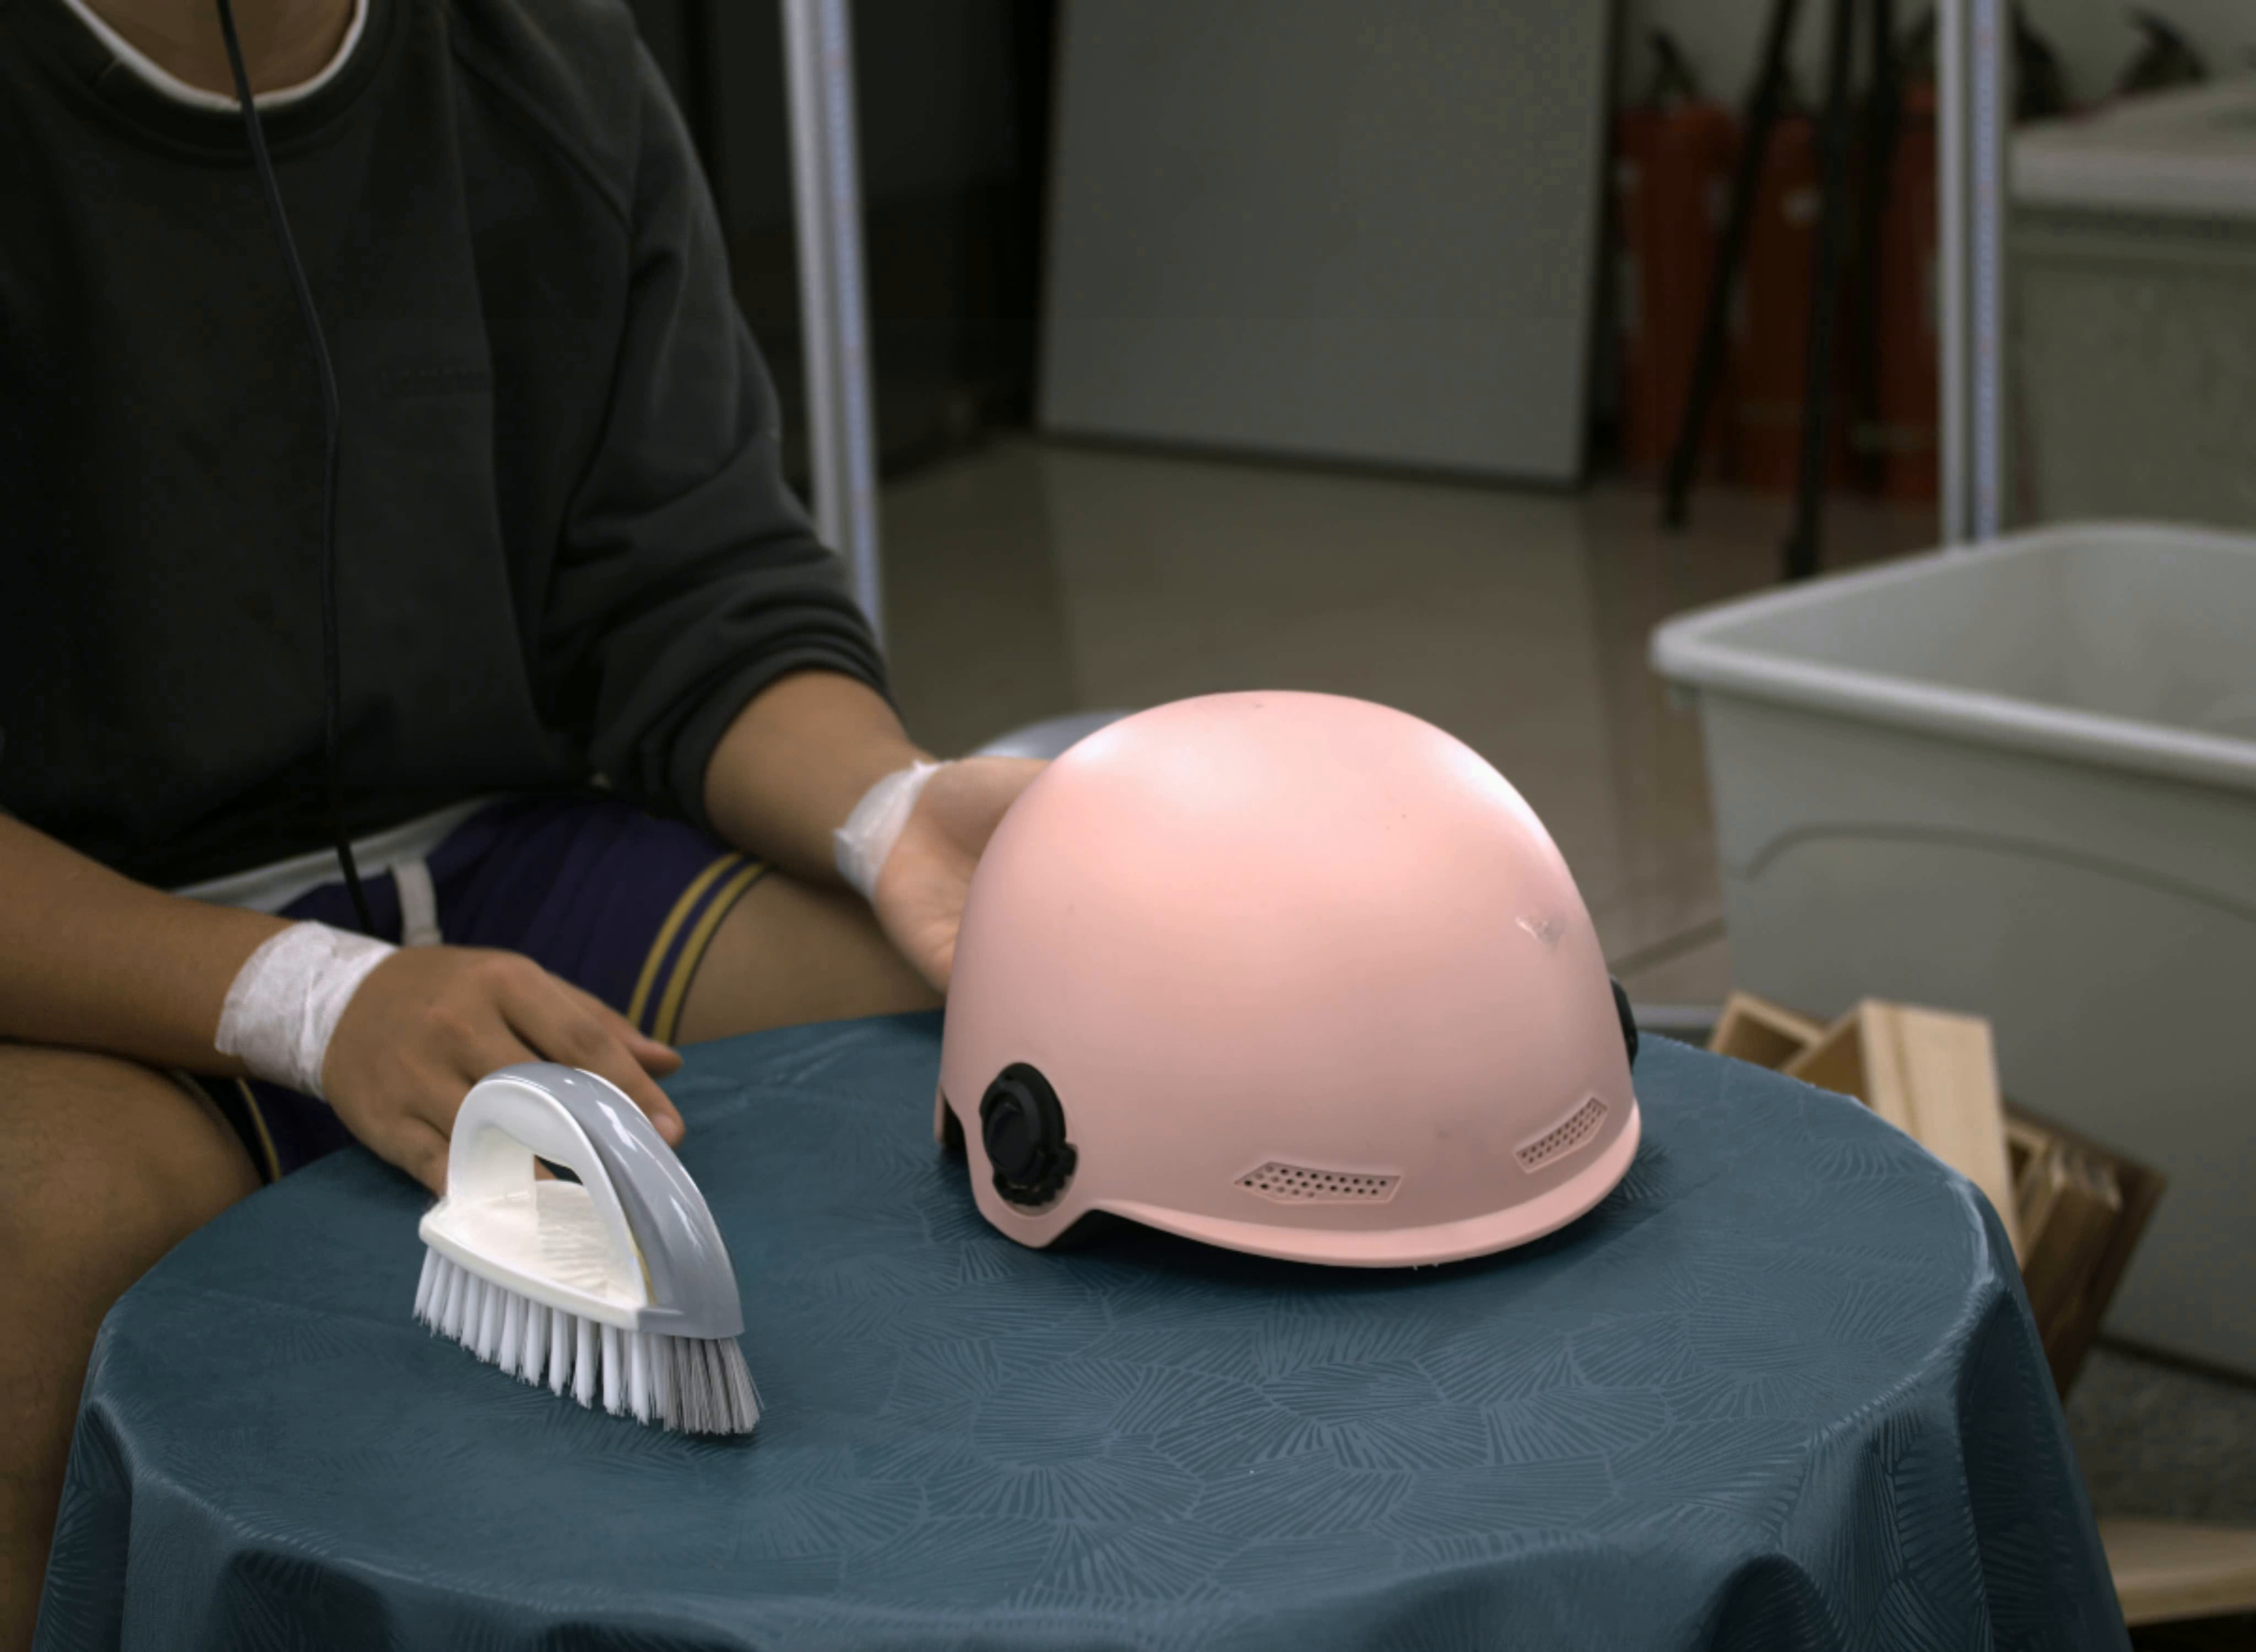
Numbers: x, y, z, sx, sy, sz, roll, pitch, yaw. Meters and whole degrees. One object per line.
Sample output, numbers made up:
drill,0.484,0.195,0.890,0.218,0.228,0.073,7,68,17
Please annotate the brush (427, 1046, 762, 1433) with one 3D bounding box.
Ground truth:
brush,-0.156,0.120,1.625,0.060,0.095,0.177,-13,17,-29

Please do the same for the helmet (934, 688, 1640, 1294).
helmet,0.051,0.042,1.760,0.229,0.160,0.269,-9,18,-23
